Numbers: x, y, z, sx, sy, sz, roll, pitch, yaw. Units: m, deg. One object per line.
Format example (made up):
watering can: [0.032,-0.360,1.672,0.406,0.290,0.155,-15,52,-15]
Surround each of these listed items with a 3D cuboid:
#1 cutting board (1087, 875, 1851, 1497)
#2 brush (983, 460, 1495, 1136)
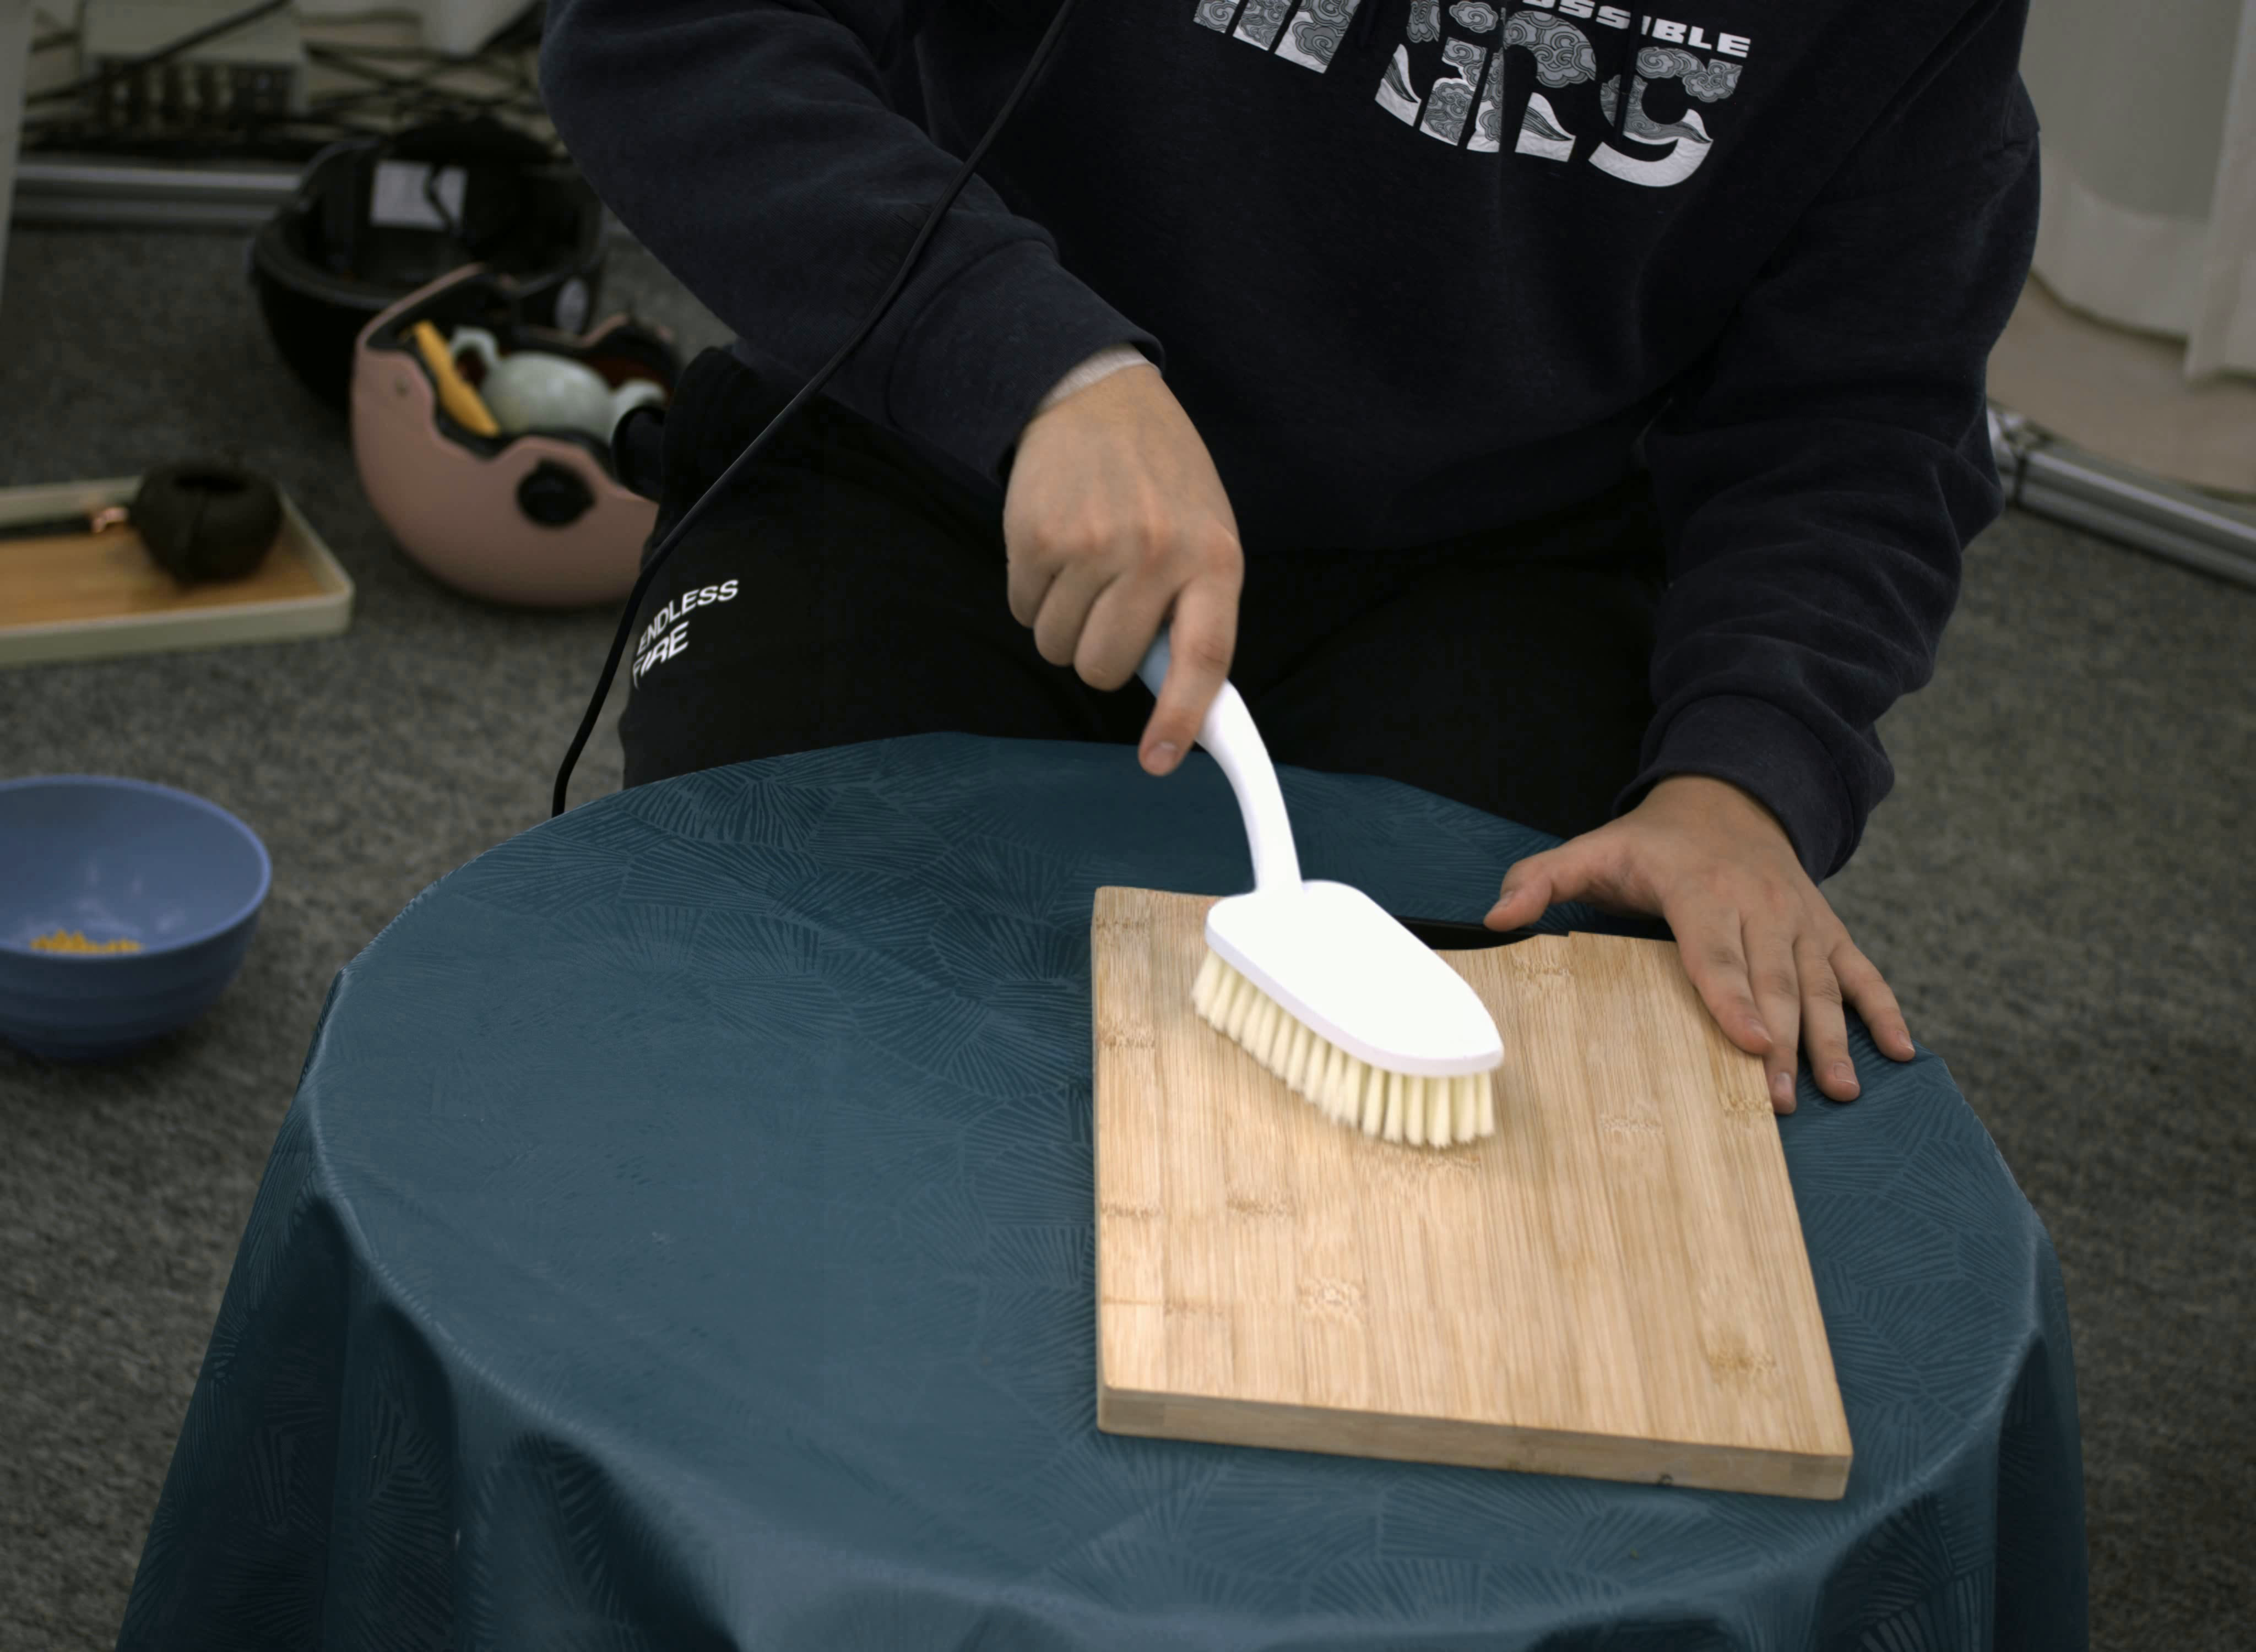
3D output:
cutting board: [0.108,0.116,1.829,0.250,0.023,0.351,6,27,-4]
brush: [0.033,-0.003,1.913,0.082,0.084,0.328,25,23,-54]
